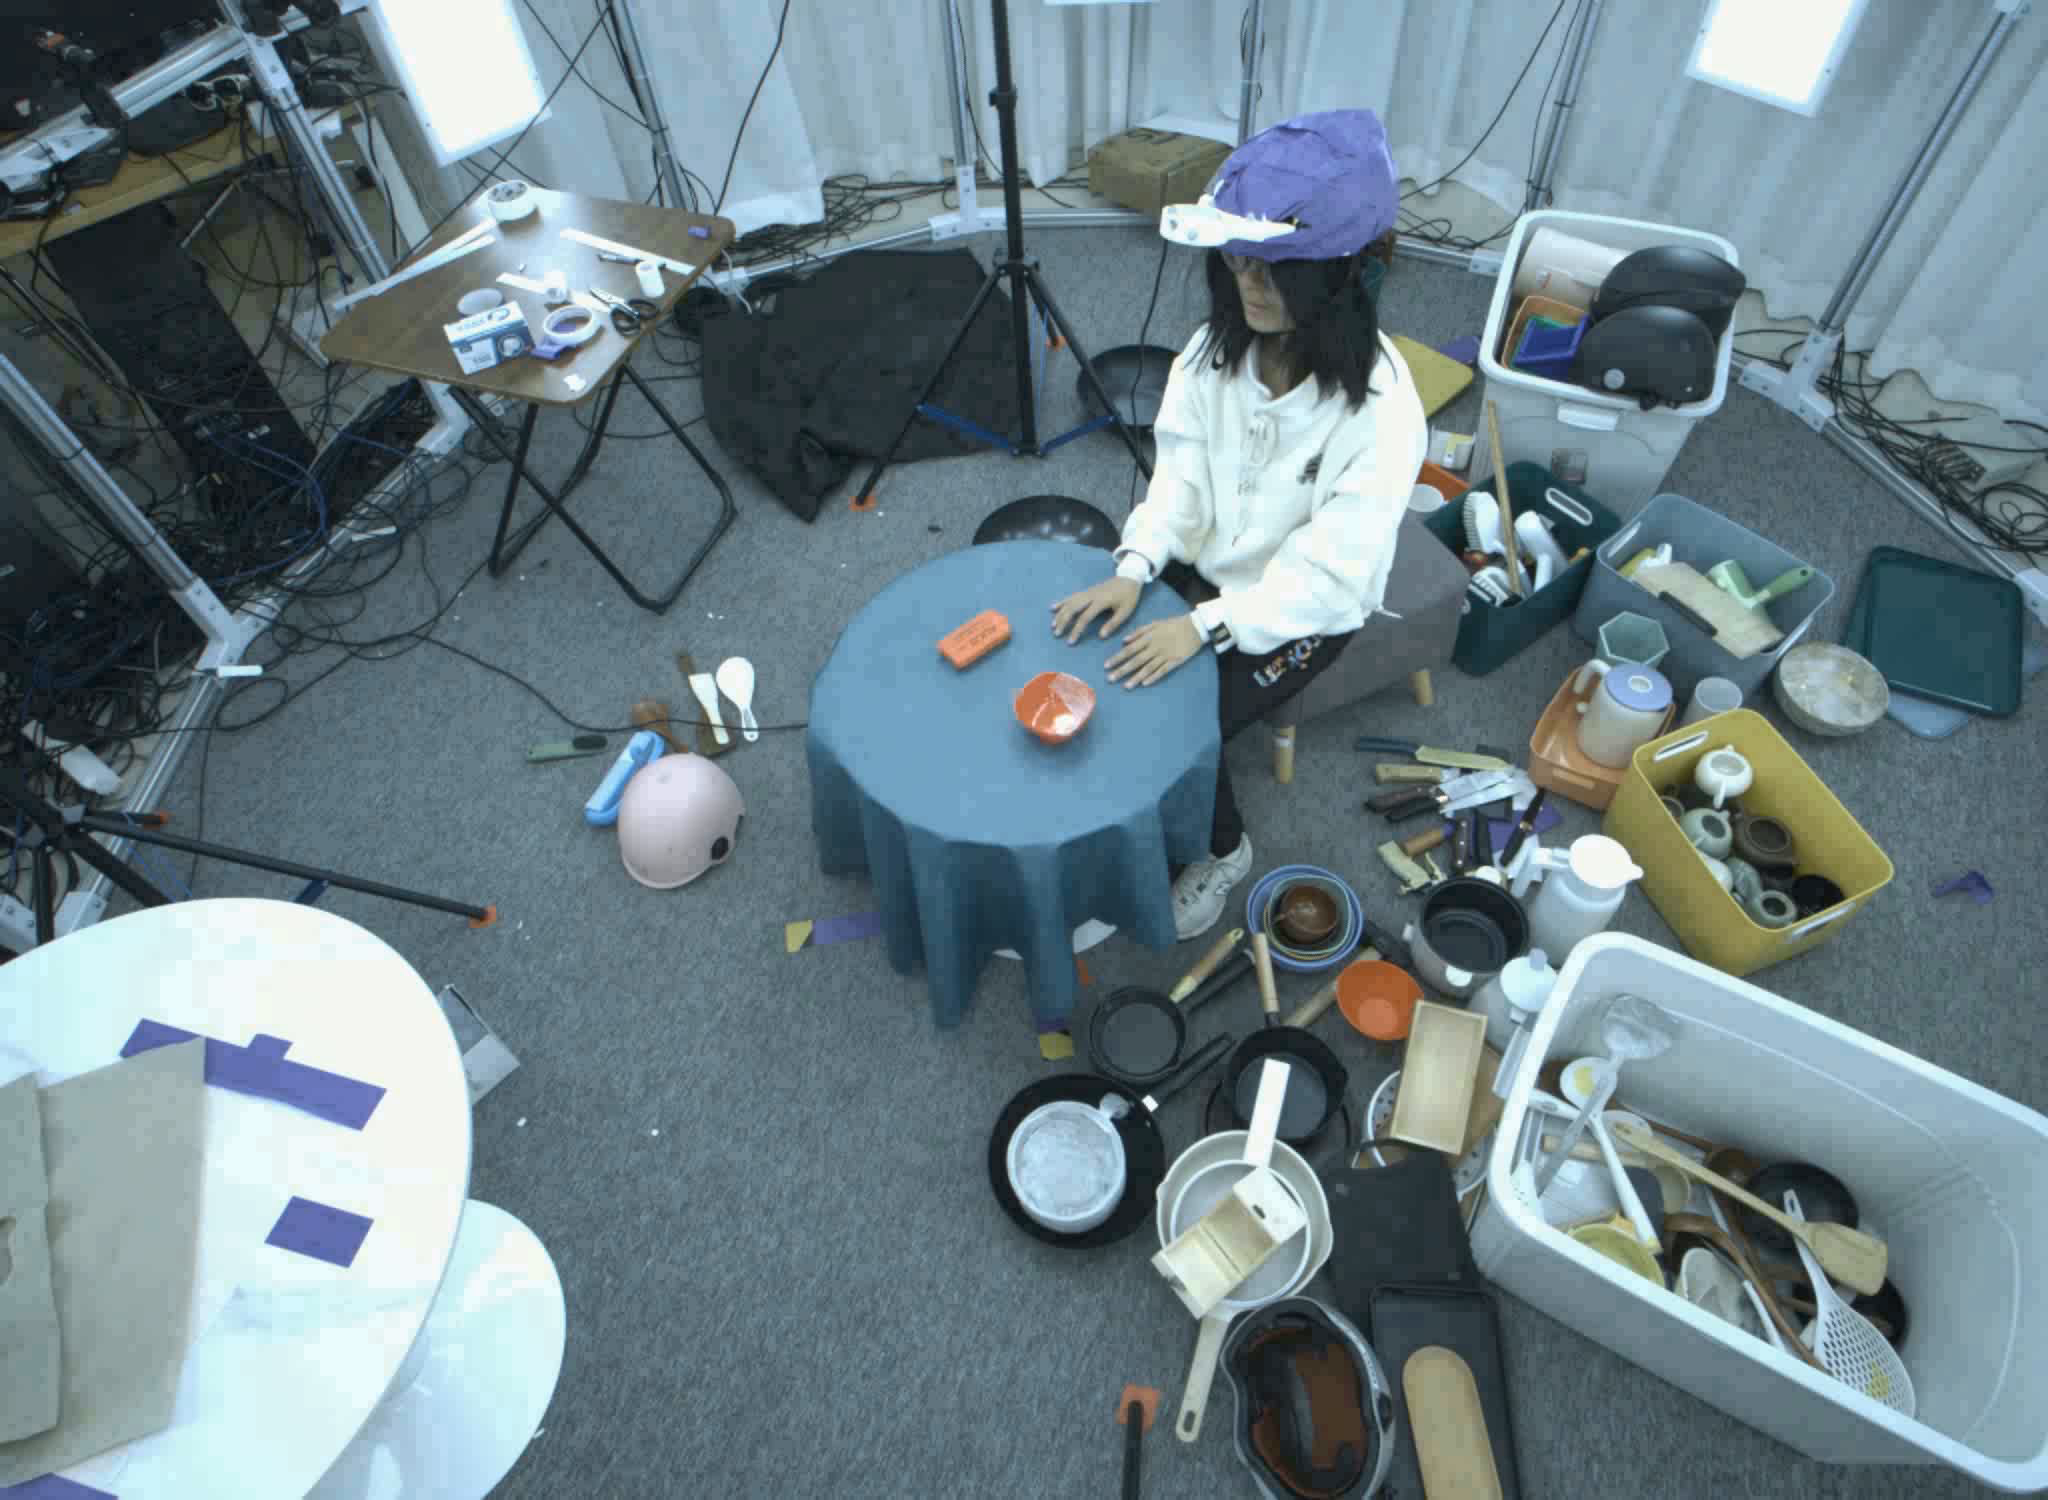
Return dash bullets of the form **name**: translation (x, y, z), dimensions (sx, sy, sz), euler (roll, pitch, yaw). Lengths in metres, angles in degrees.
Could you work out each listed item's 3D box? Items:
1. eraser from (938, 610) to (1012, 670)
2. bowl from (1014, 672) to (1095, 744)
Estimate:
- **eraser**: translation (-0.076, -0.171, 1.897), dimensions (0.109, 0.023, 0.058), euler (-36, 58, -21)
- **bowl**: translation (0.046, -0.054, 1.794), dimensions (0.119, 0.052, 0.117), euler (-1, 53, 2)
